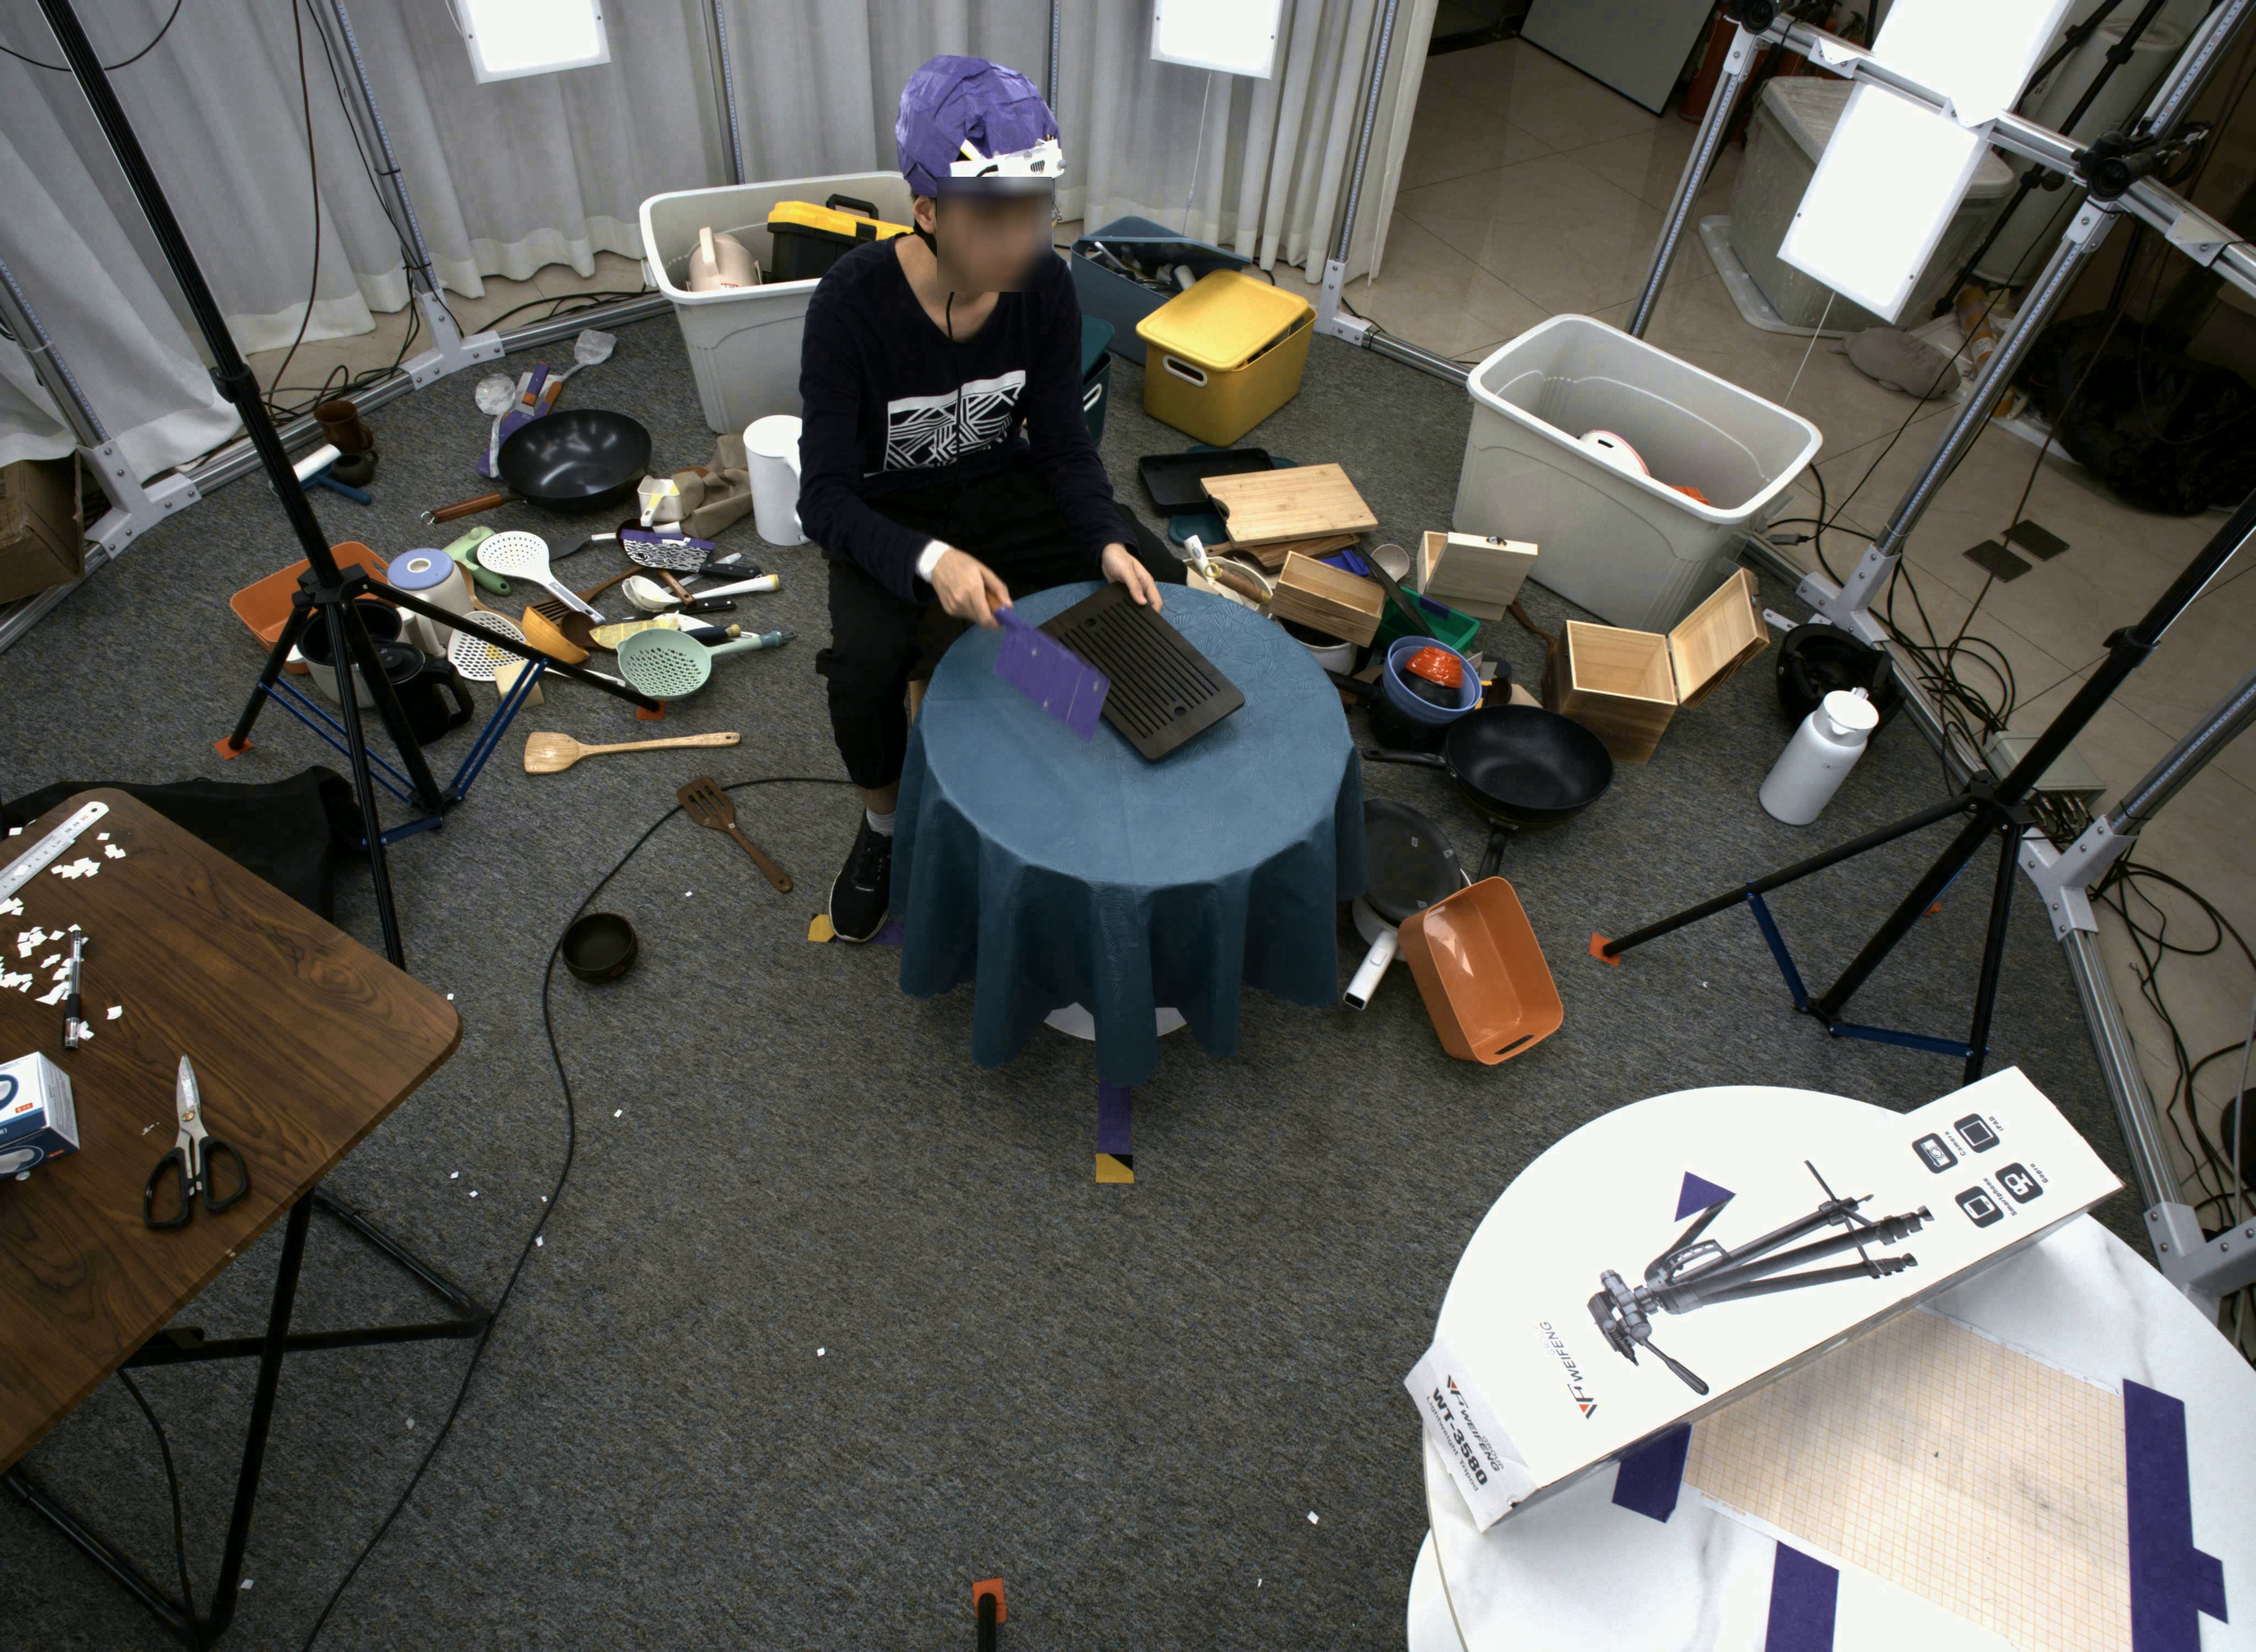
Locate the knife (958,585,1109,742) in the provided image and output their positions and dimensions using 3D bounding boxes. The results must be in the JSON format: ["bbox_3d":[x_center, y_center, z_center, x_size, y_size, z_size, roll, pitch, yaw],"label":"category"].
[{"bbox_3d":[-0.141,-0.222,1.751,0.032,0.102,0.321,-5,36,-44],"label":"knife"}]

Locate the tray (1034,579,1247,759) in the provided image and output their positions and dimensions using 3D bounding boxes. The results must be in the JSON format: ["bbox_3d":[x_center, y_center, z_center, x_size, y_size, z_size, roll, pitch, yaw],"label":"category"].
[{"bbox_3d":[0.014,-0.228,1.835,0.171,0.018,0.312,-33,58,-15],"label":"tray"}]
